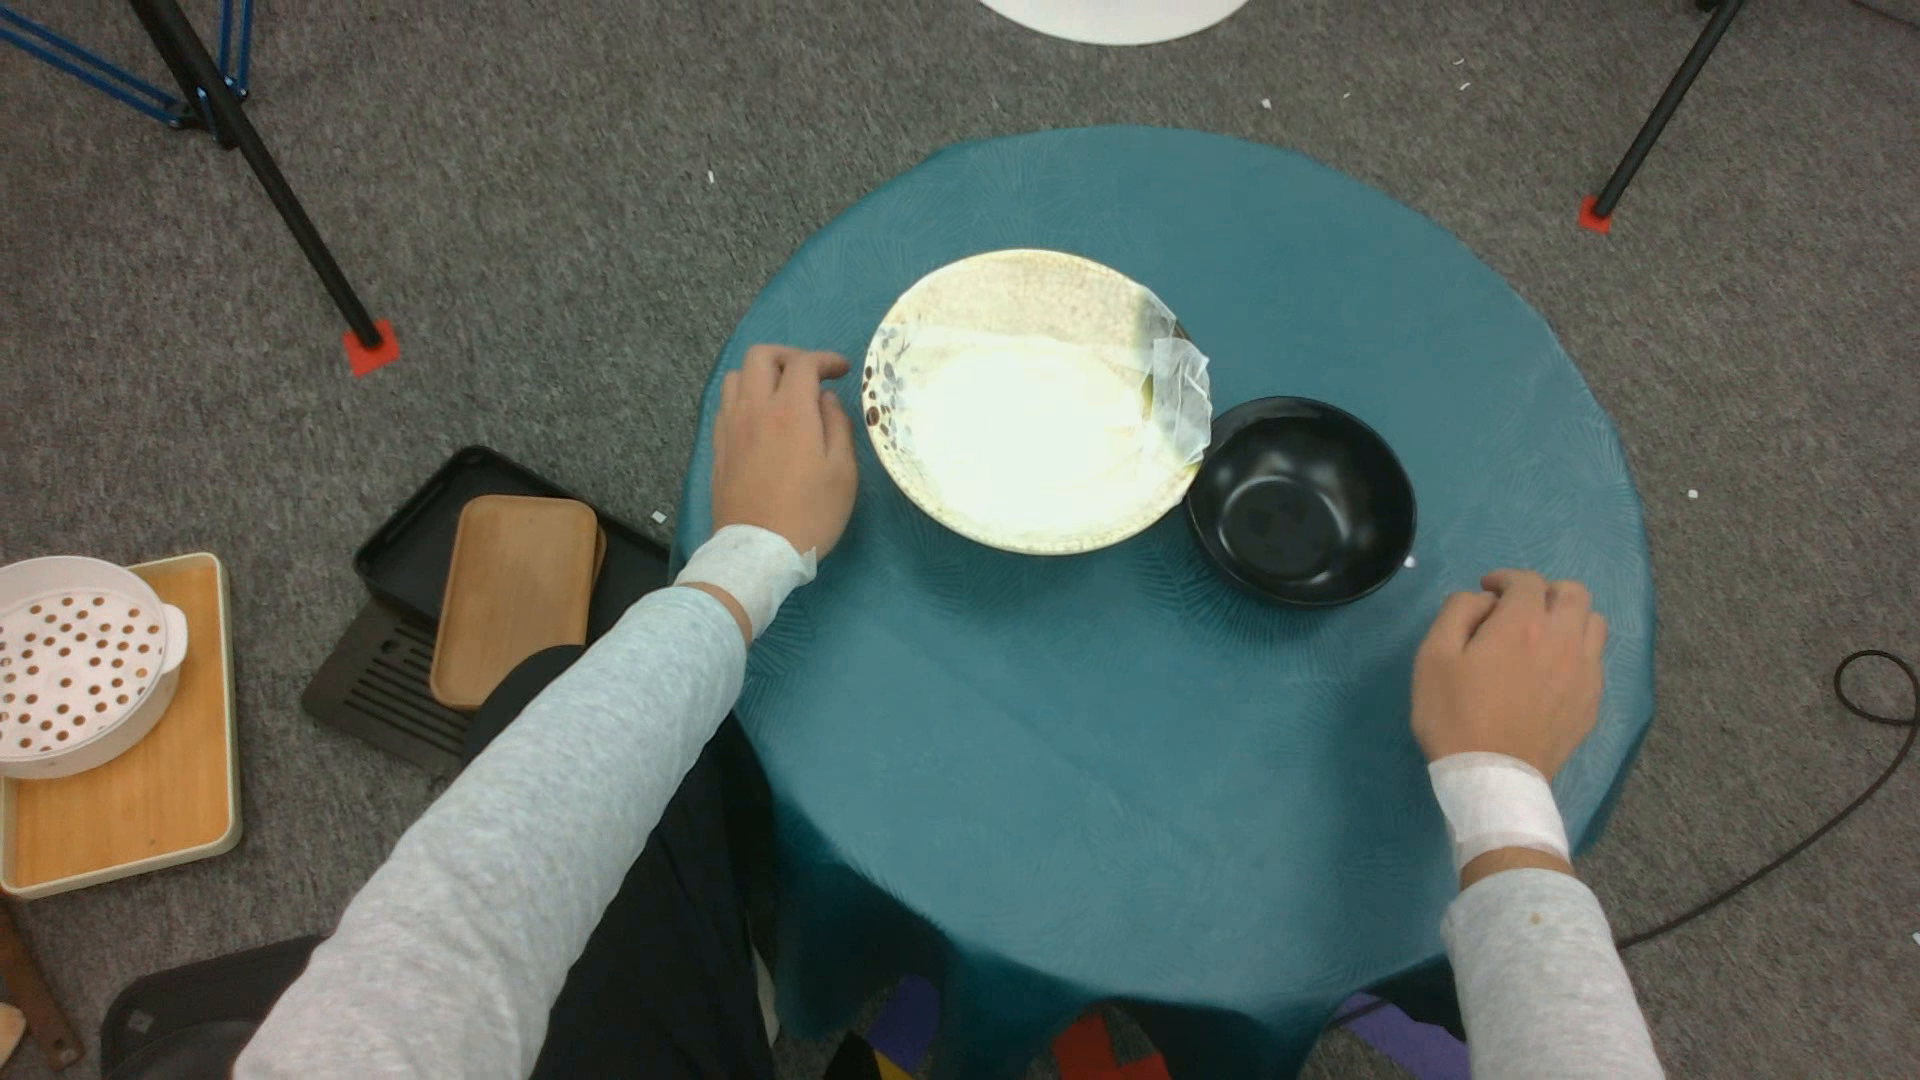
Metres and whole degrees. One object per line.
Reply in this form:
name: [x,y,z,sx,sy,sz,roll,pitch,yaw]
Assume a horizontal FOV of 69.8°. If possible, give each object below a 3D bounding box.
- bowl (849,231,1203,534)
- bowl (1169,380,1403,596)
bowl: [0.036,-0.081,0.822,0.204,0.077,0.205,2,65,-4]
bowl: [0.191,-0.025,0.830,0.140,0.049,0.140,1,66,-2]
